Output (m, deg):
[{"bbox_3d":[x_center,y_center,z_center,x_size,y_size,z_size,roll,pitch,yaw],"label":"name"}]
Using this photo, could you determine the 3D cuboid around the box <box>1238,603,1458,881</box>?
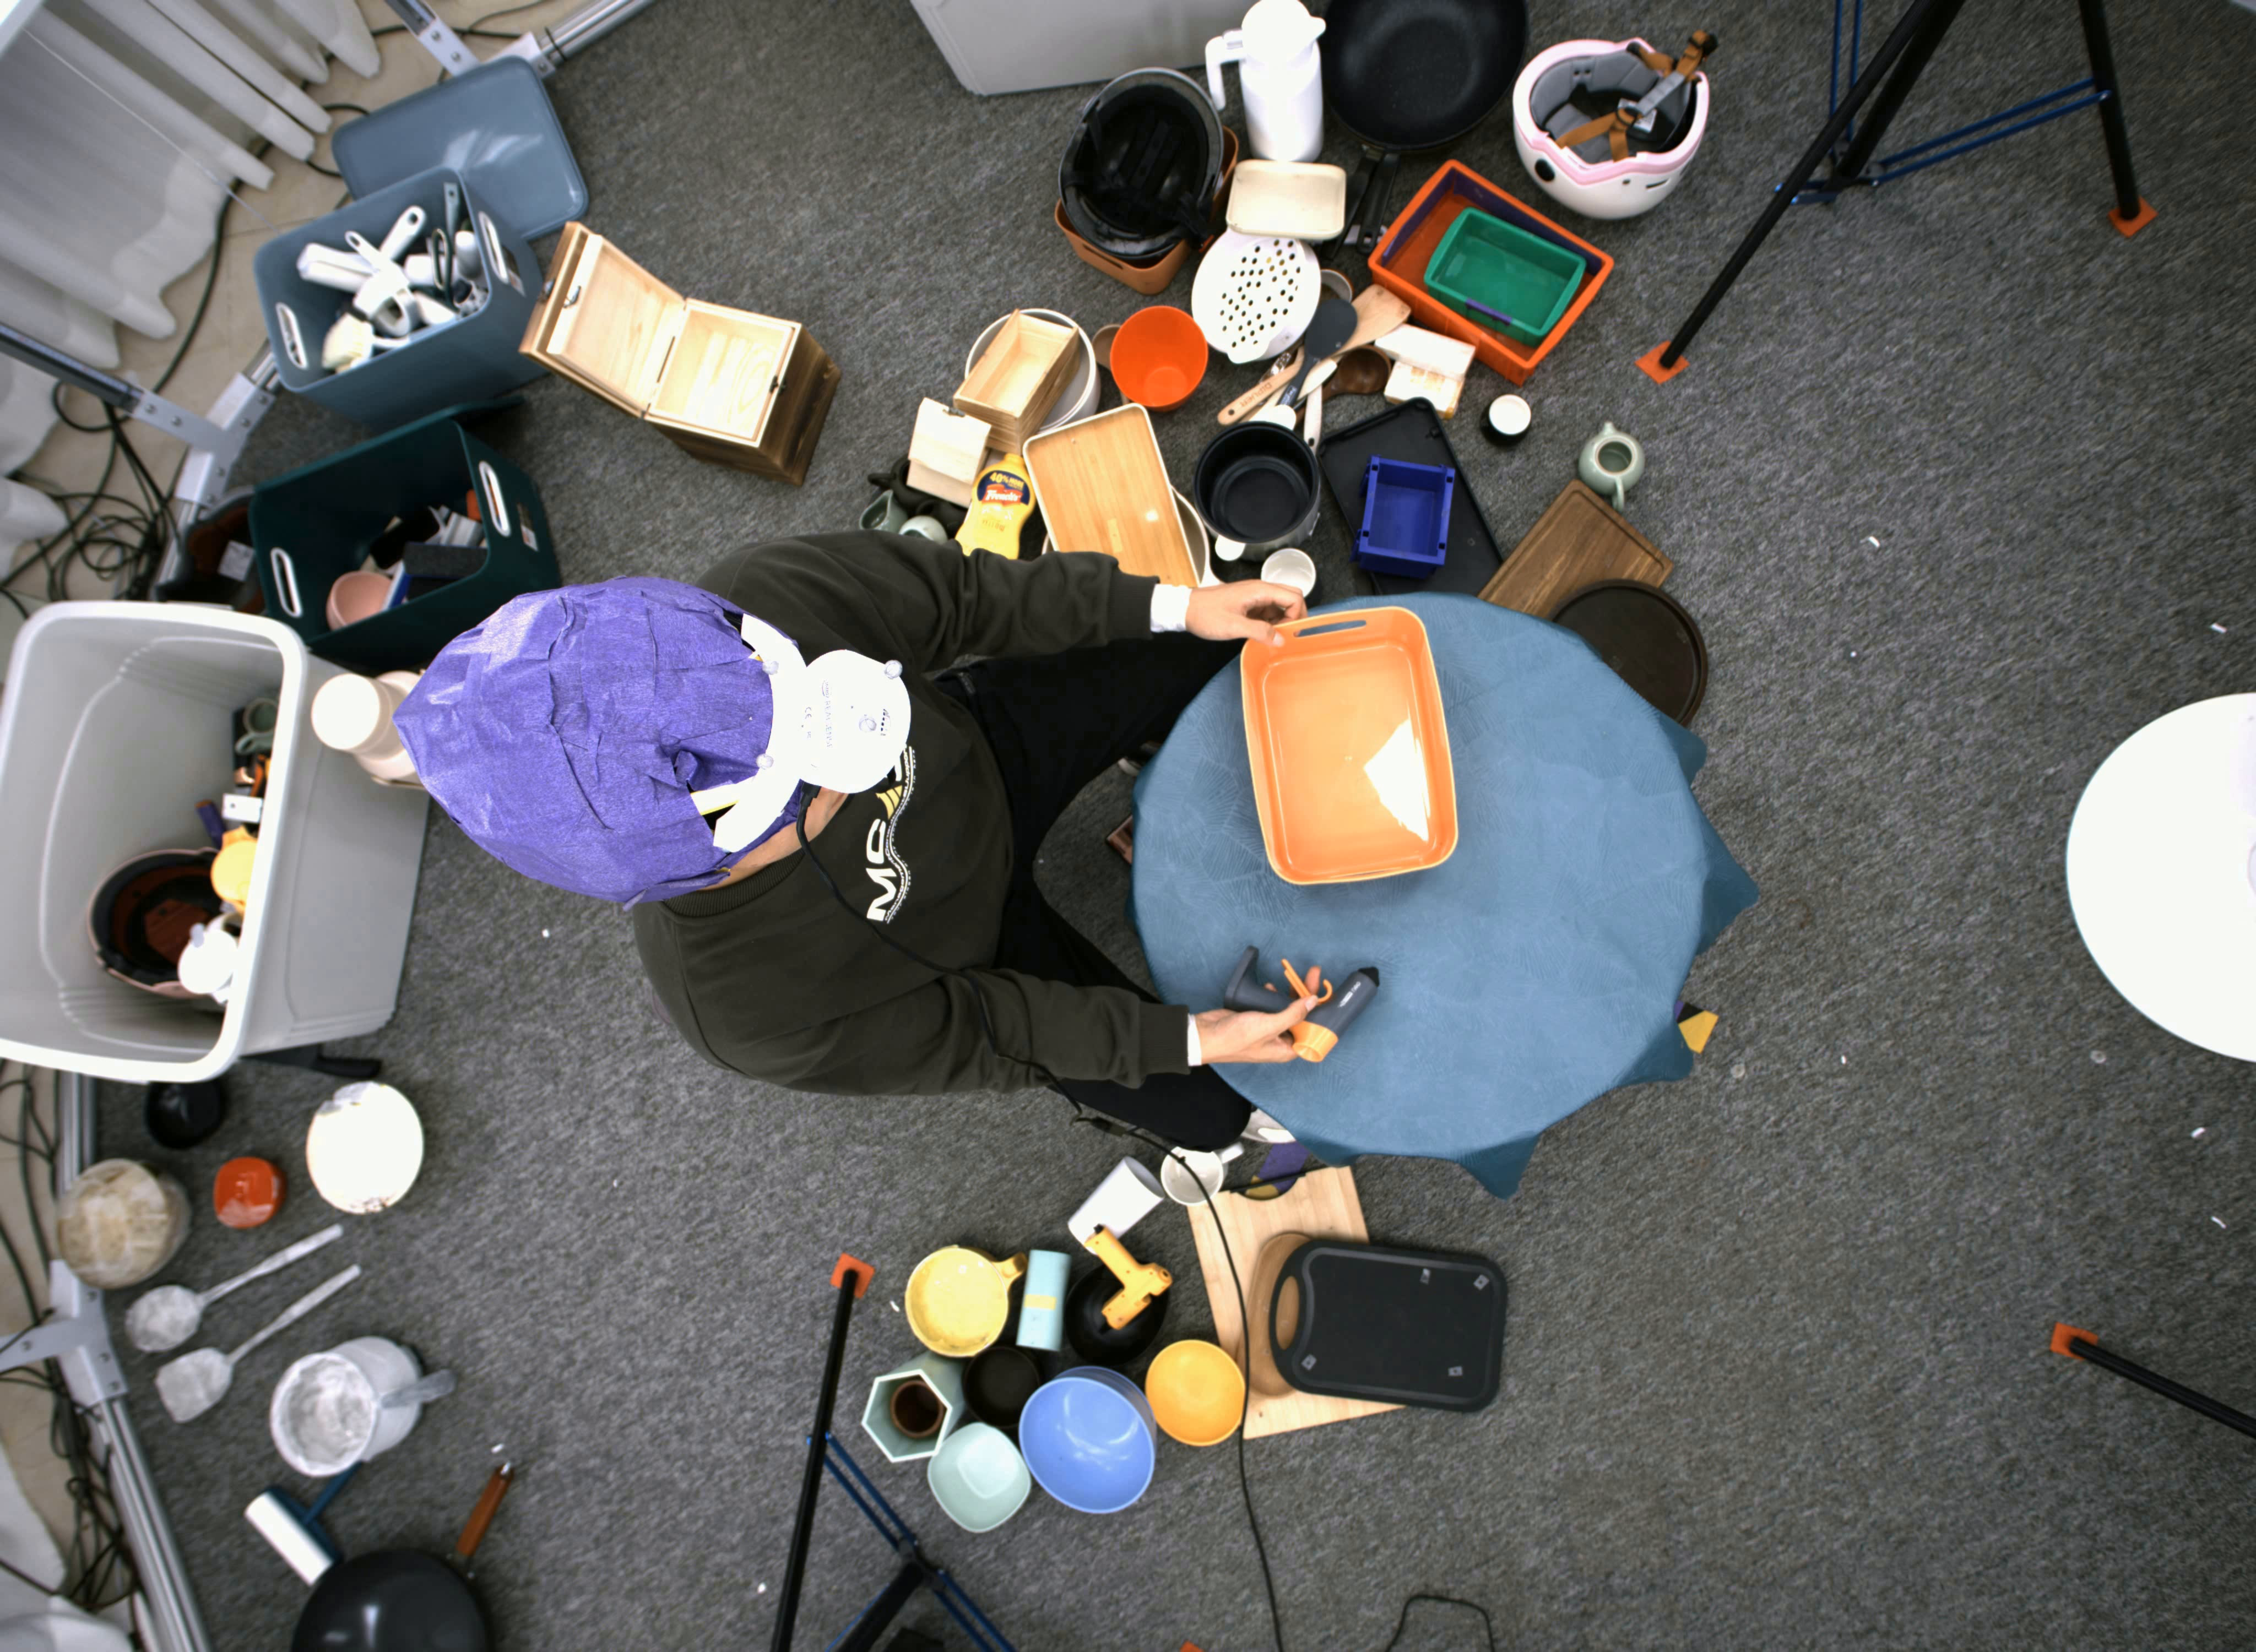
[{"bbox_3d":[0.226,-0.080,1.424,0.200,0.102,0.272,-9,85,10],"label":"box"}]

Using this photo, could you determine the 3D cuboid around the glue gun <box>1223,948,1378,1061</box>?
[{"bbox_3d":[0.178,0.174,1.426,0.140,0.042,0.115,18,57,17],"label":"glue gun"}]
